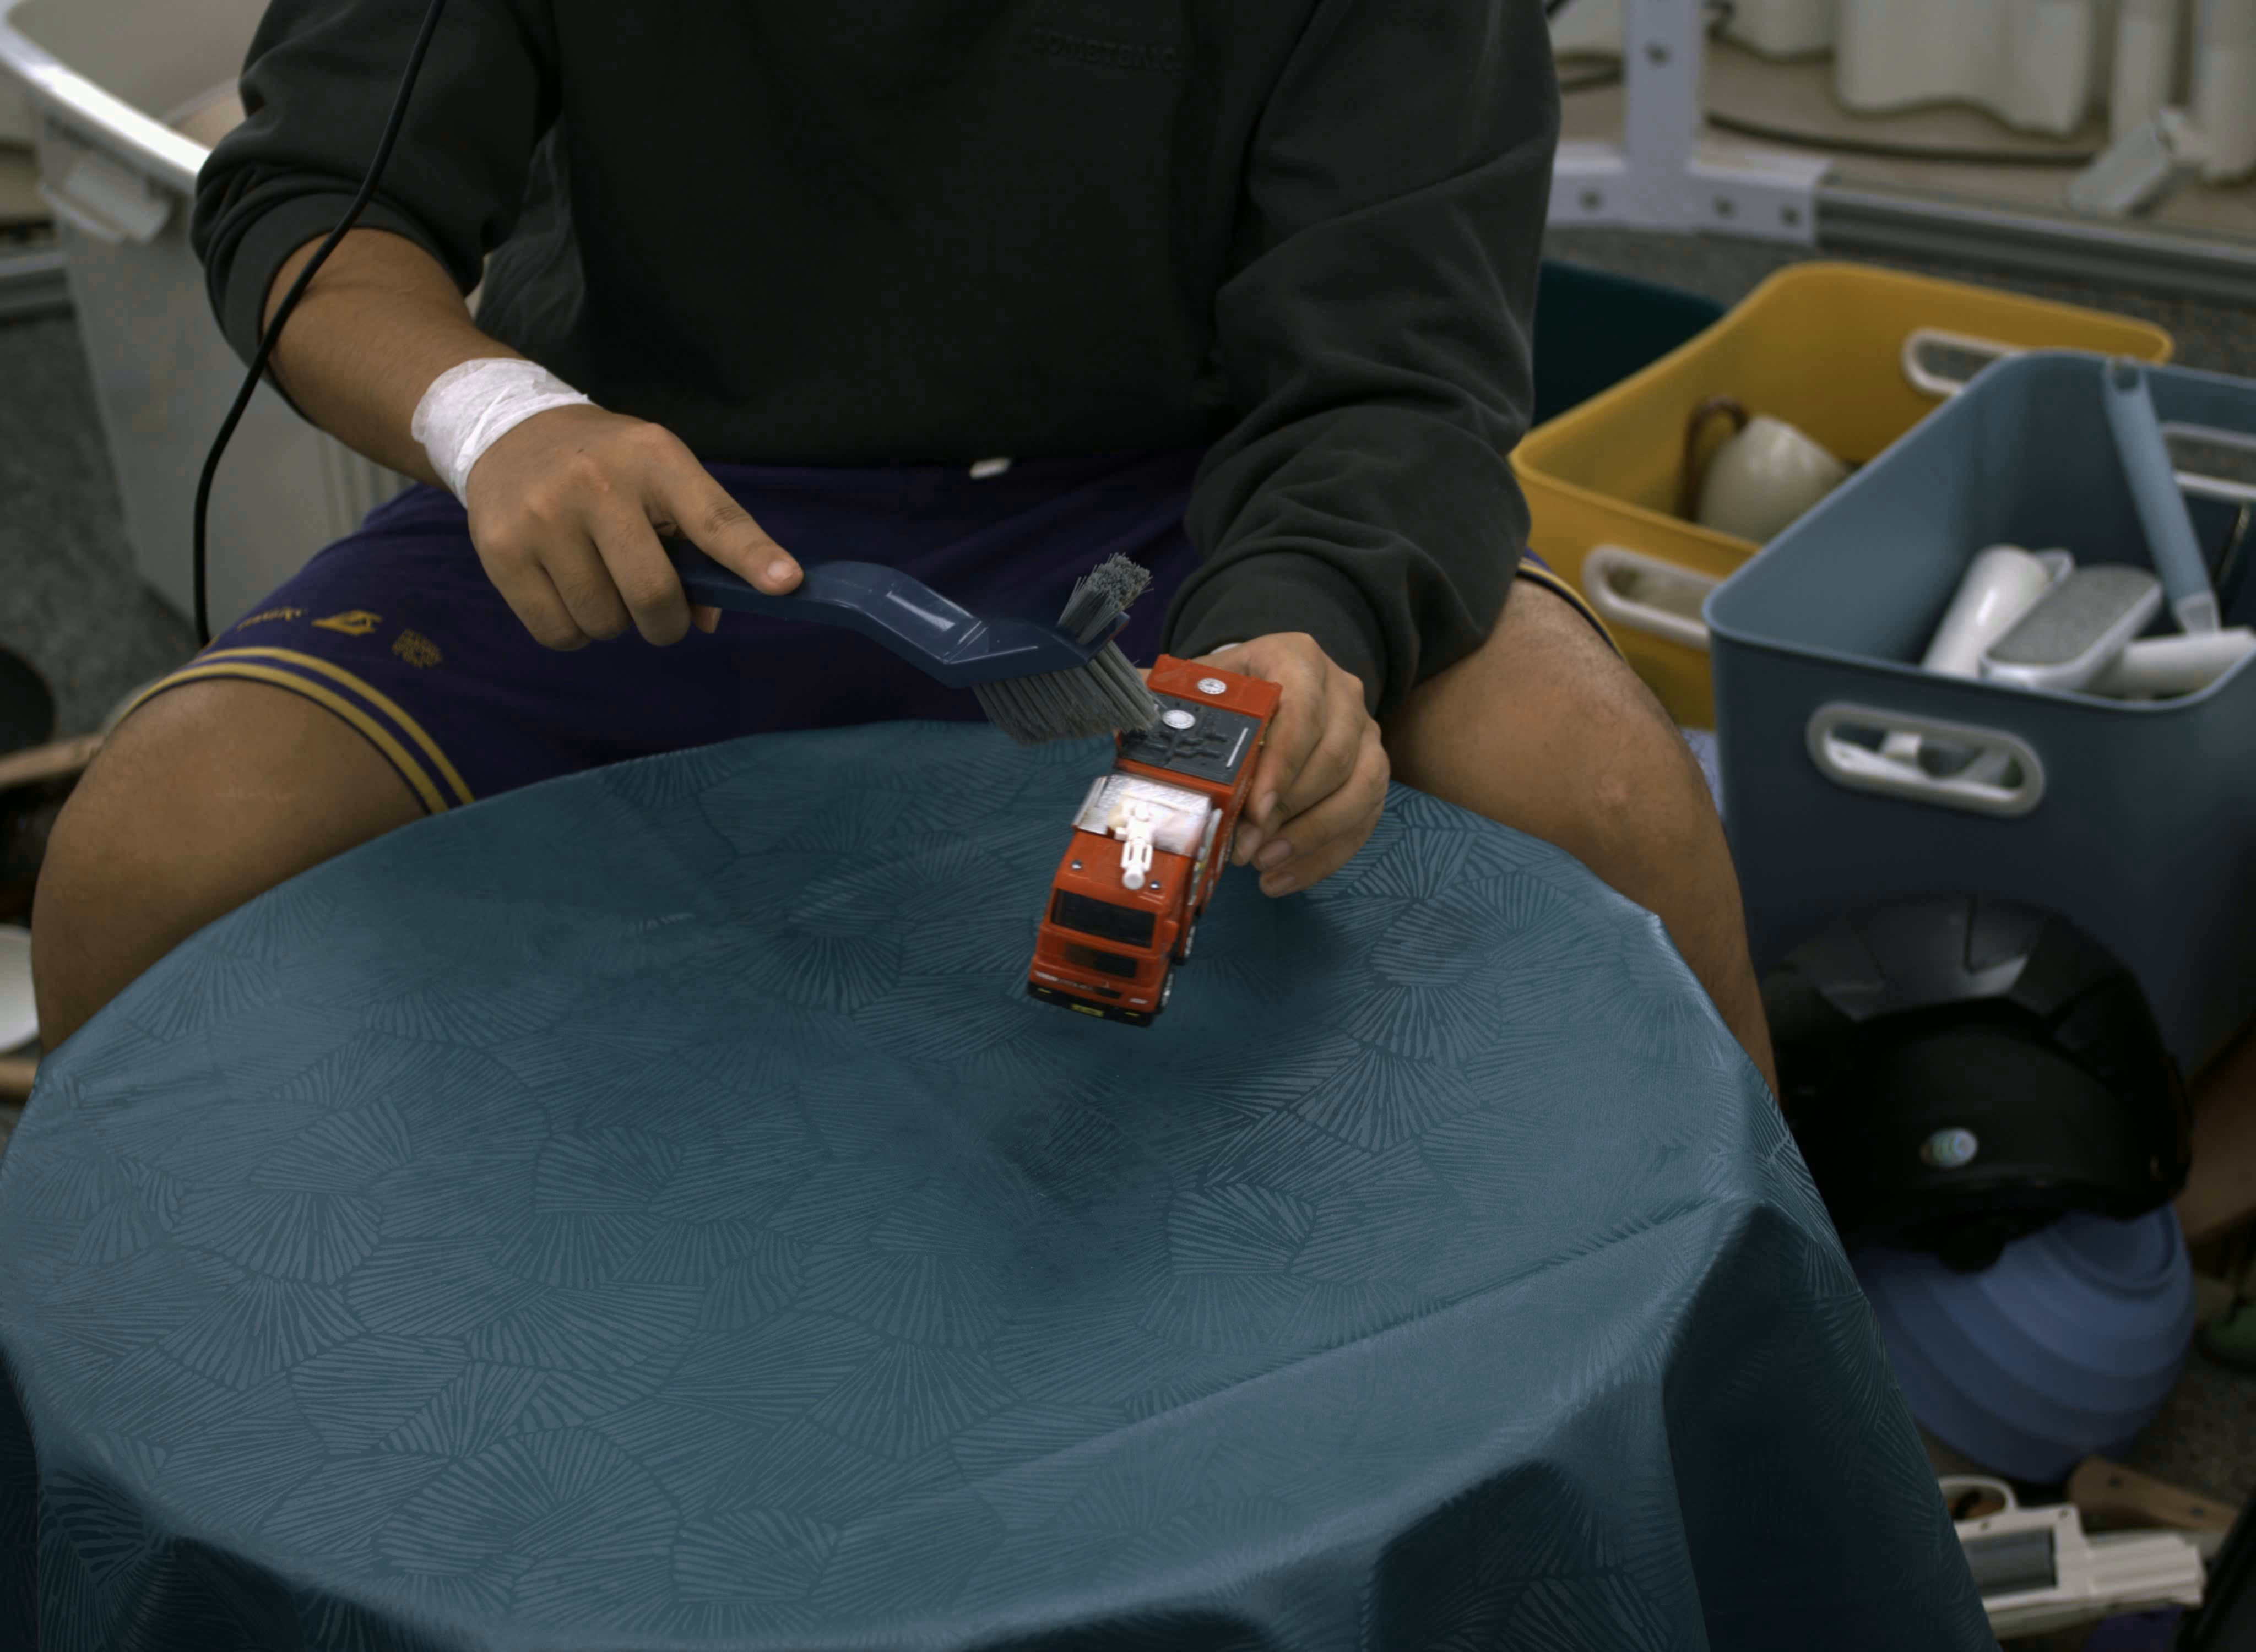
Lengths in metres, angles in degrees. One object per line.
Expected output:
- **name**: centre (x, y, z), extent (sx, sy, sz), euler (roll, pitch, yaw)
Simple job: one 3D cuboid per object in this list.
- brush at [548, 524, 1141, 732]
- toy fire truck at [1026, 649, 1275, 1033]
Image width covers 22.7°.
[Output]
- **brush**: centre (-0.103, -0.086, 1.946), extent (0.272, 0.094, 0.034), euler (17, 53, 35)
- **toy fire truck**: centre (0.009, 0.003, 1.881), extent (0.054, 0.069, 0.171), euler (14, 32, 7)
